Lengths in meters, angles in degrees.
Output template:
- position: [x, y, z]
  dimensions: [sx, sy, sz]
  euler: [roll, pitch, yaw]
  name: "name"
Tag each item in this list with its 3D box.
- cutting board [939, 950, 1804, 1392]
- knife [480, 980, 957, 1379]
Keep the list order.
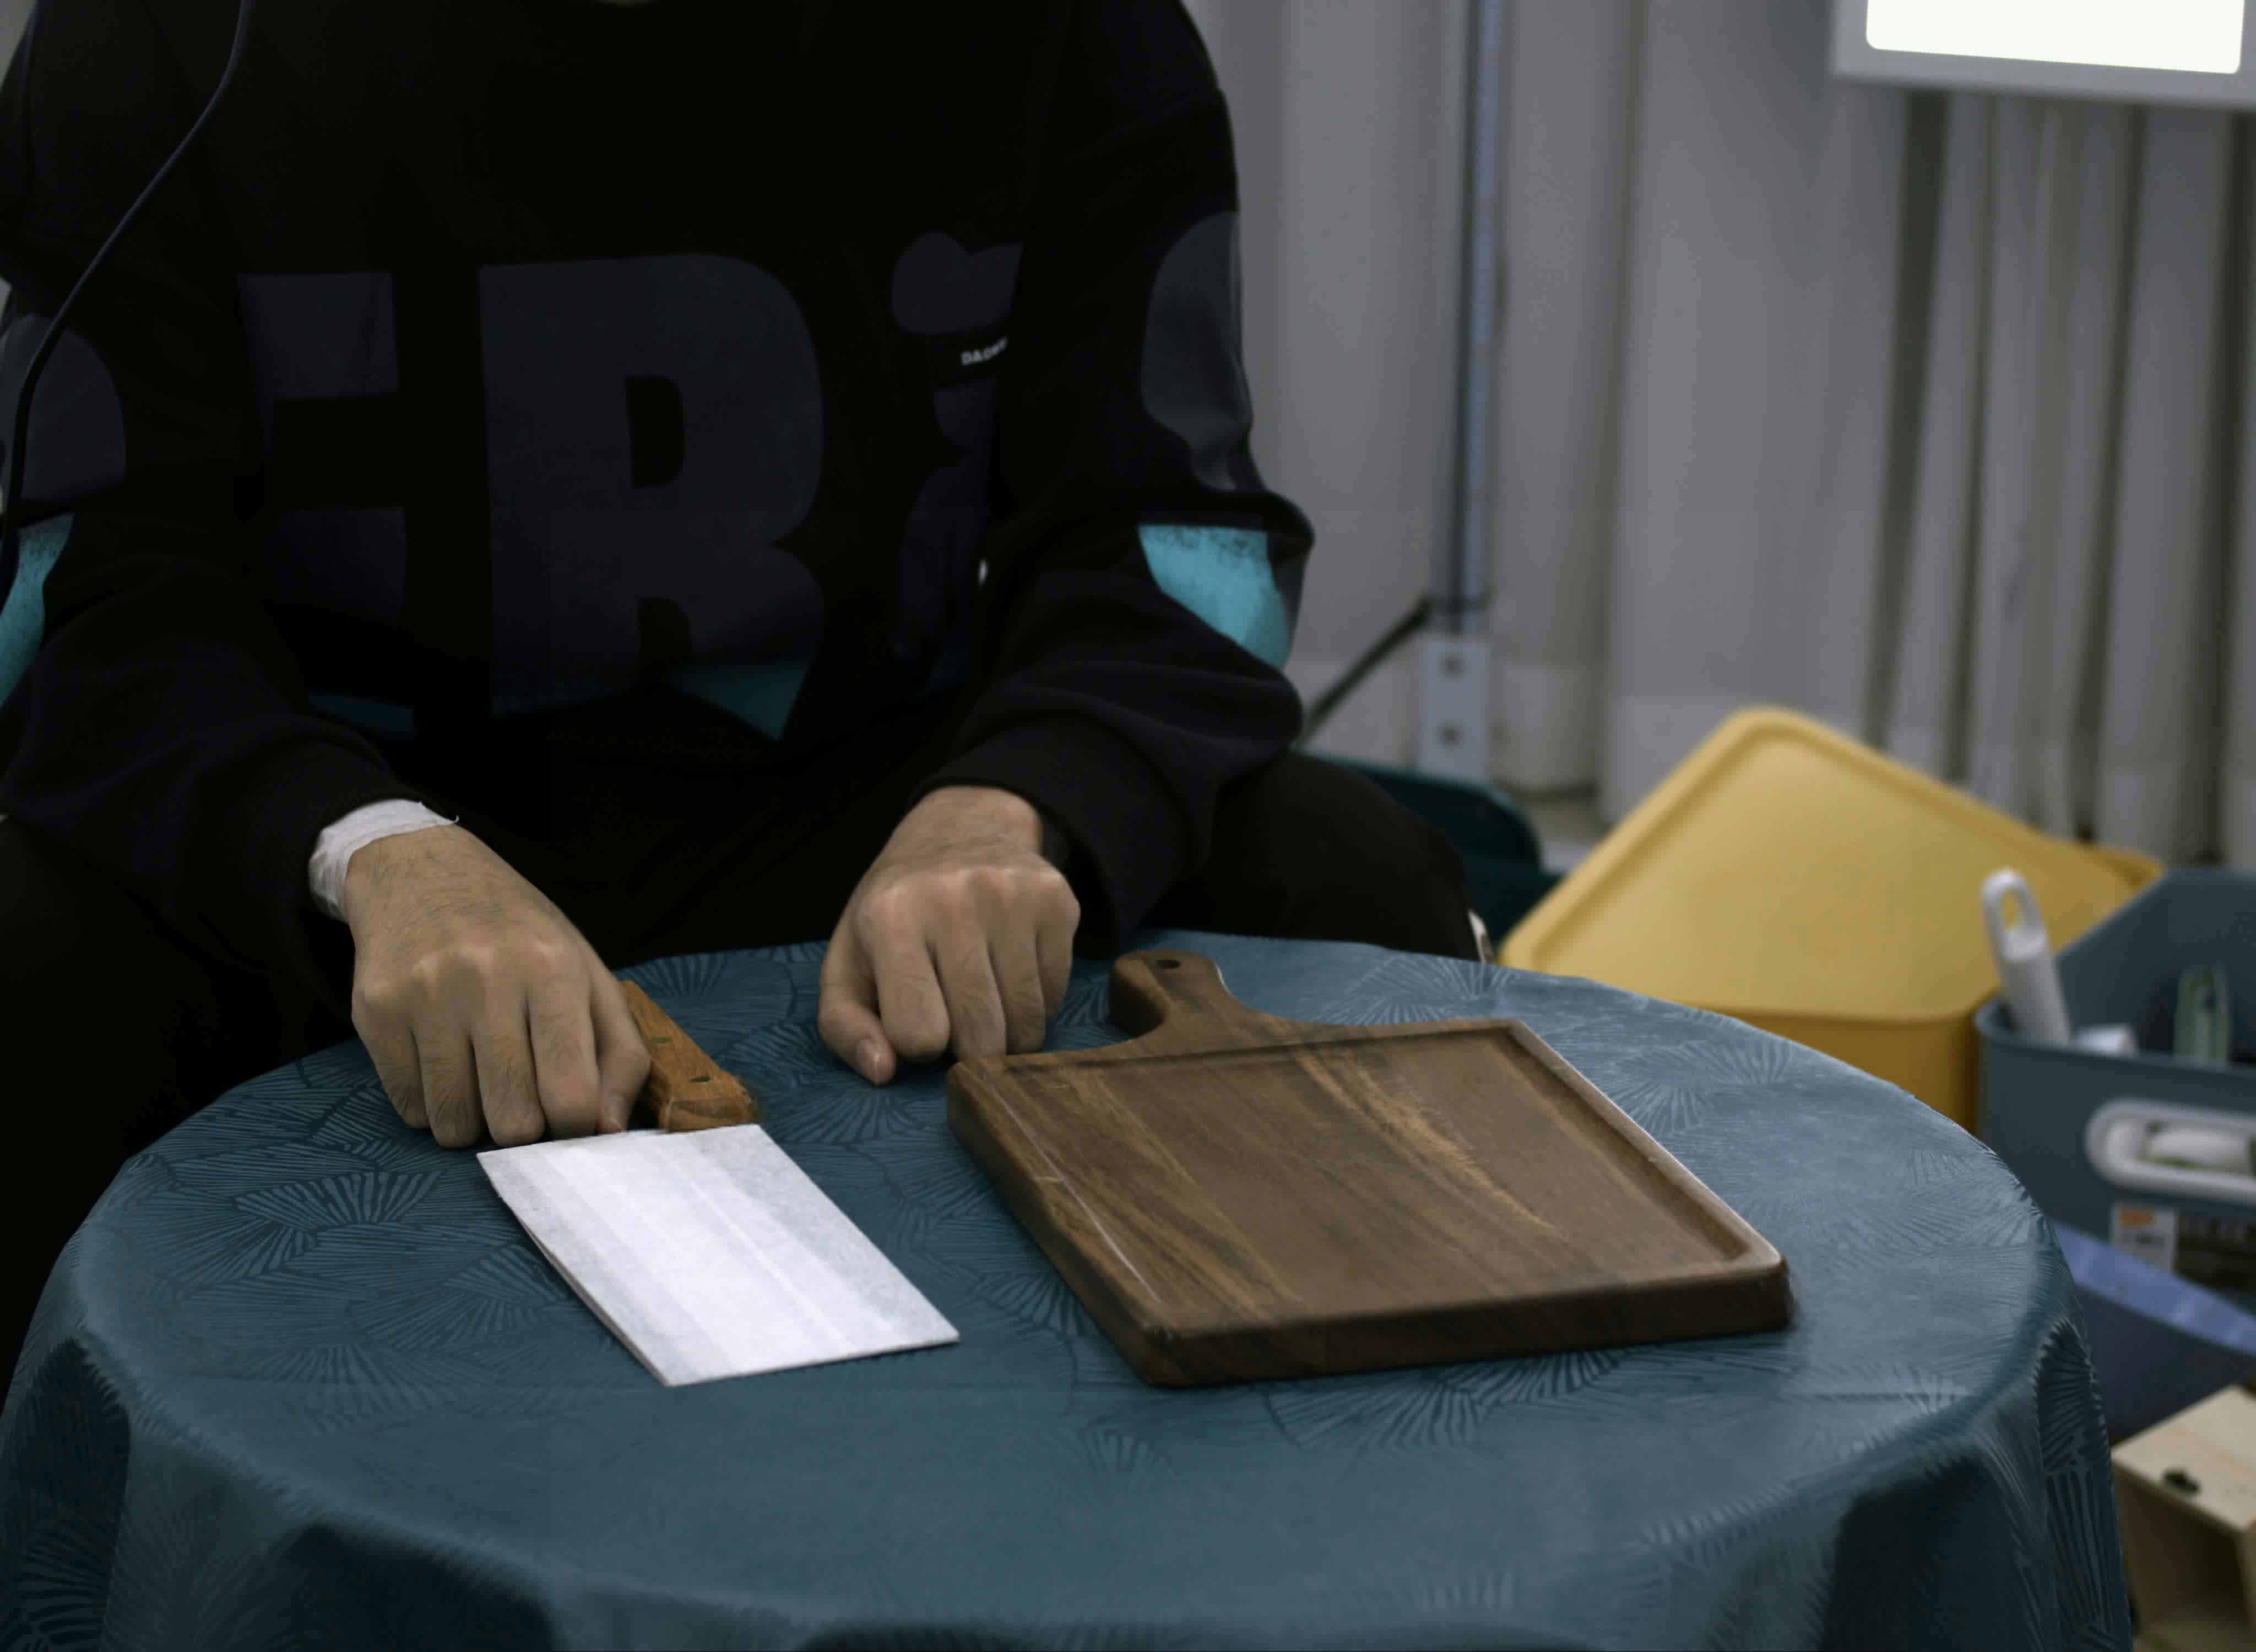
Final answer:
- position: [0.054, 0.097, 1.641]
  dimensions: [0.201, 0.023, 0.348]
  euler: [-4, 16, -16]
  name: "cutting board"
- position: [-0.145, 0.107, 1.610]
  dimensions: [0.093, 0.021, 0.302]
  euler: [-8, 20, -22]
  name: "knife"
